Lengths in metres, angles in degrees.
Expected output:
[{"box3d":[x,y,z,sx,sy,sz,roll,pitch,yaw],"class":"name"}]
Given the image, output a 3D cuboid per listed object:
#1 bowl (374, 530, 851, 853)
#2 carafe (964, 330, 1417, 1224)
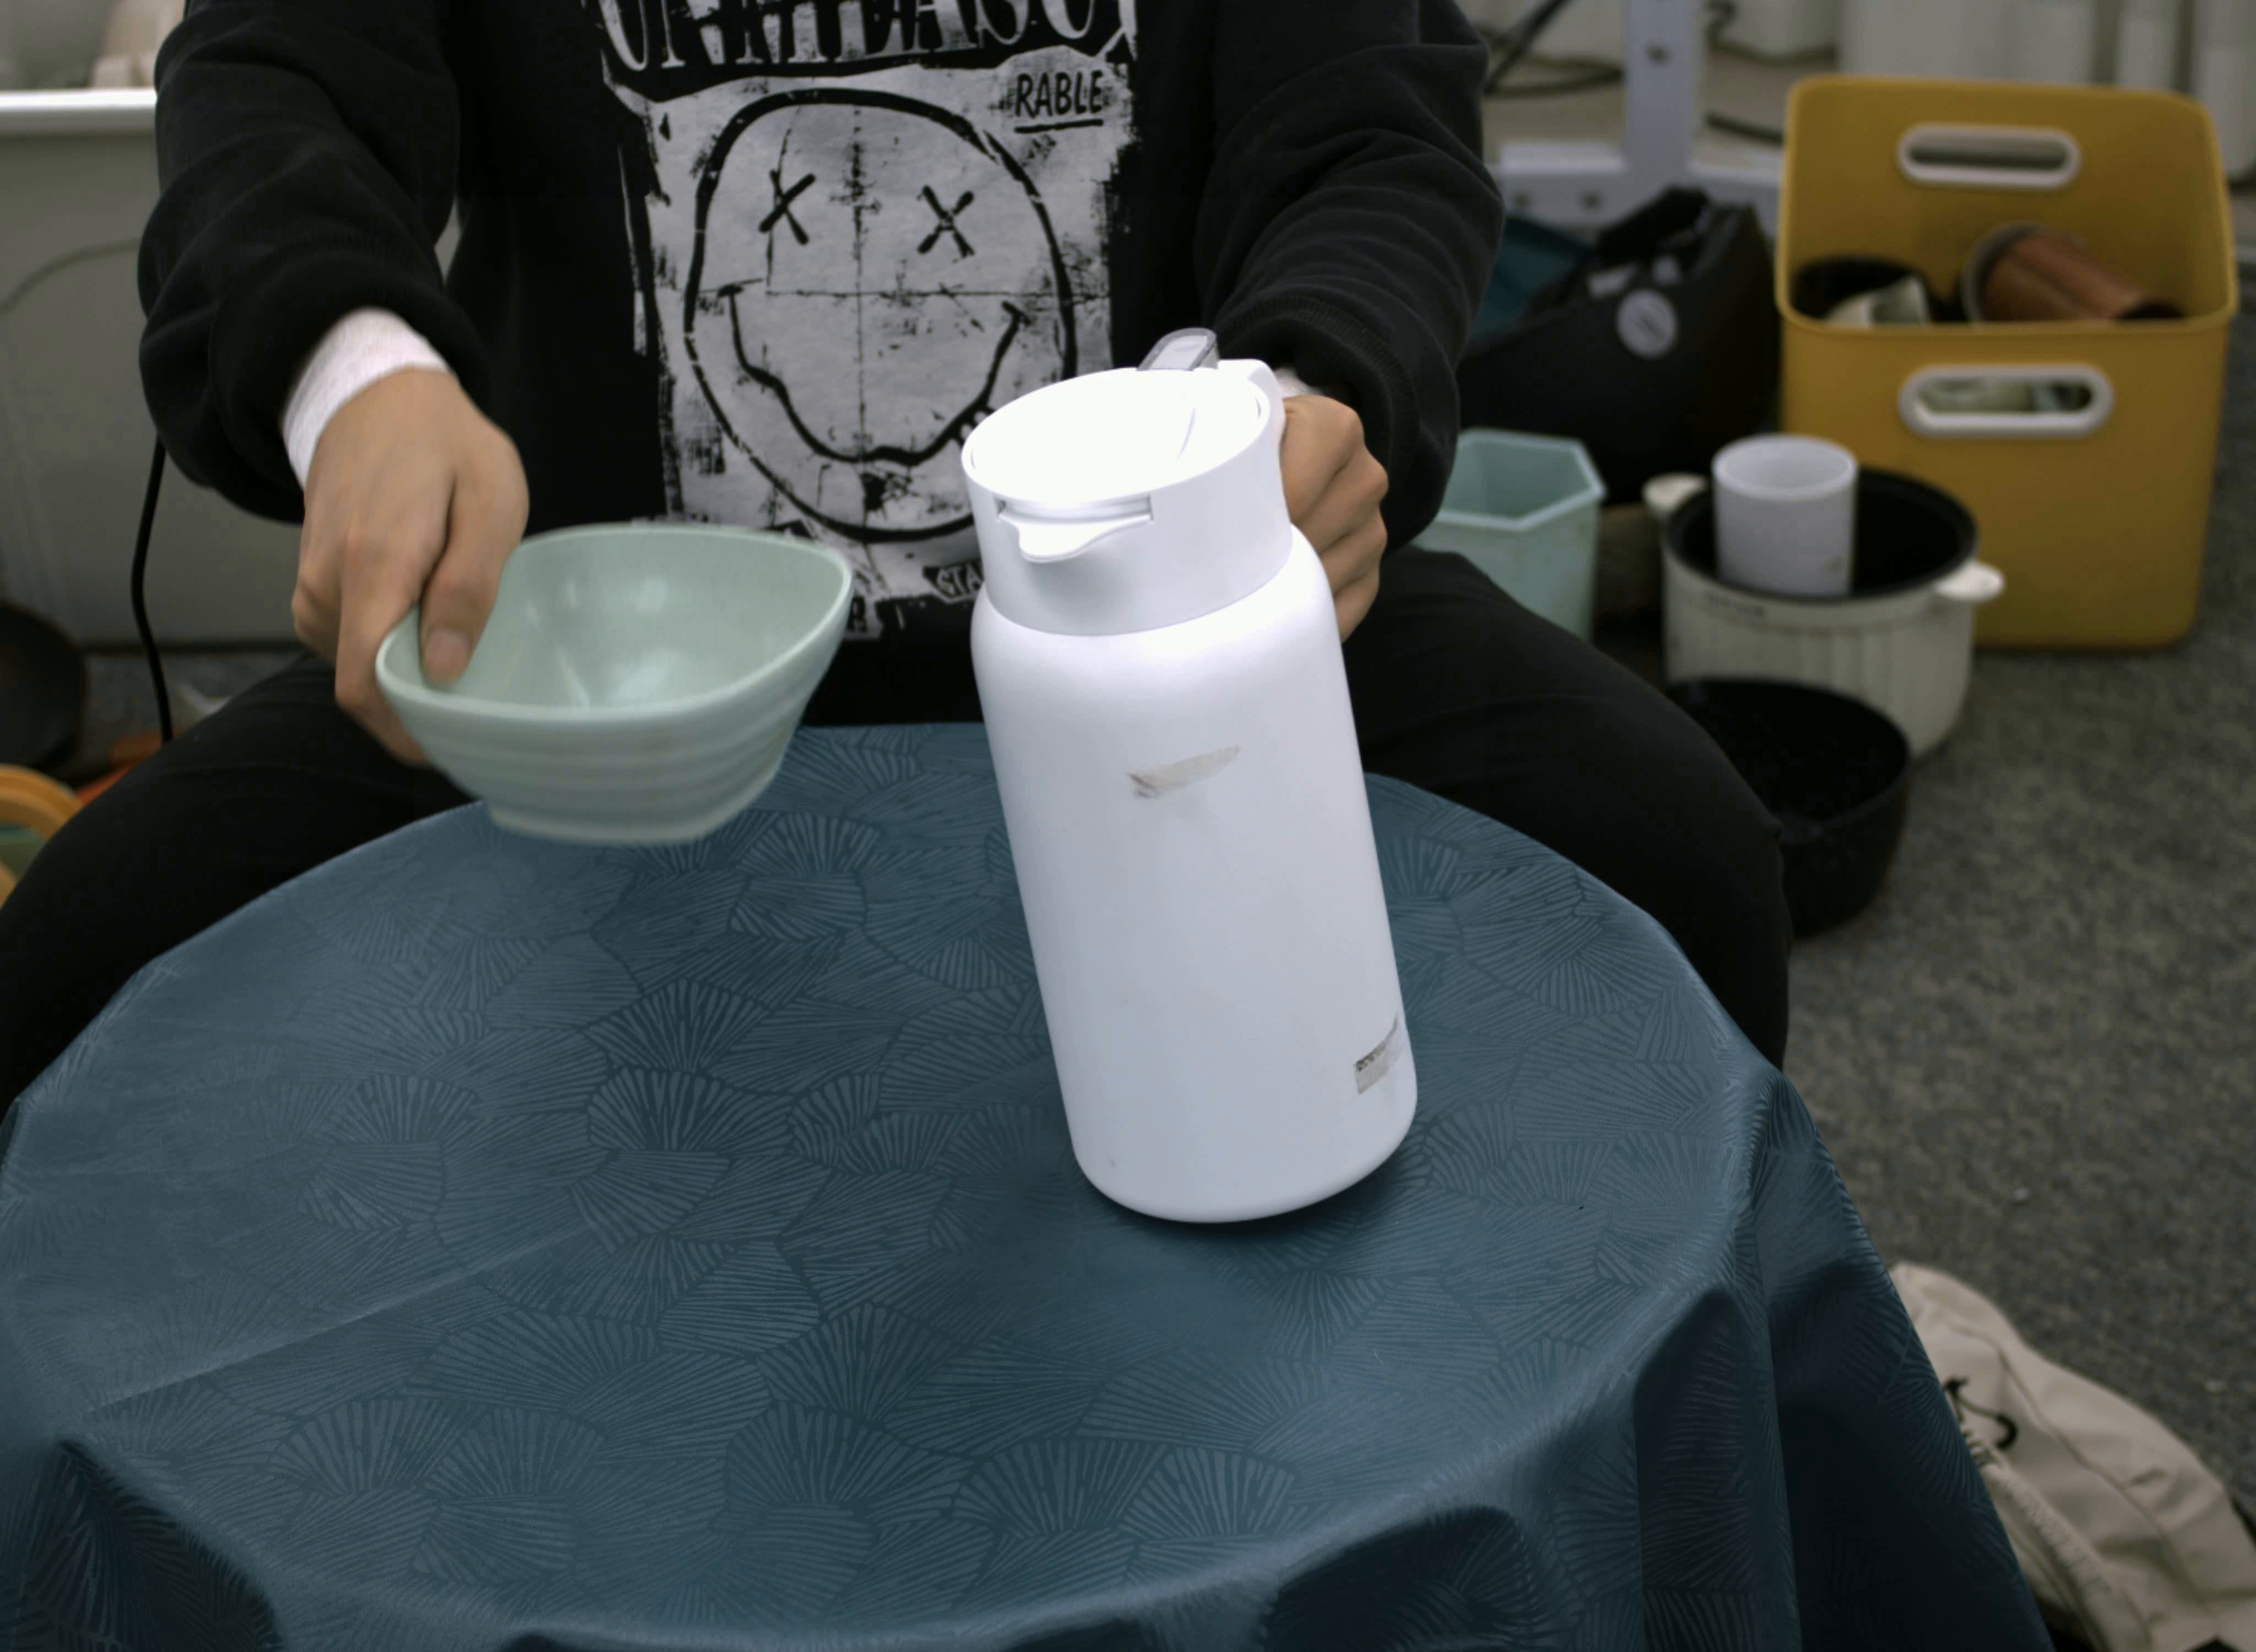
[{"box3d":[-0.156,-0.037,1.744,0.150,0.058,0.153,-4,26,2],"class":"bowl"},{"box3d":[0.023,-0.019,1.833,0.123,0.266,0.176,-2,27,22],"class":"carafe"}]
